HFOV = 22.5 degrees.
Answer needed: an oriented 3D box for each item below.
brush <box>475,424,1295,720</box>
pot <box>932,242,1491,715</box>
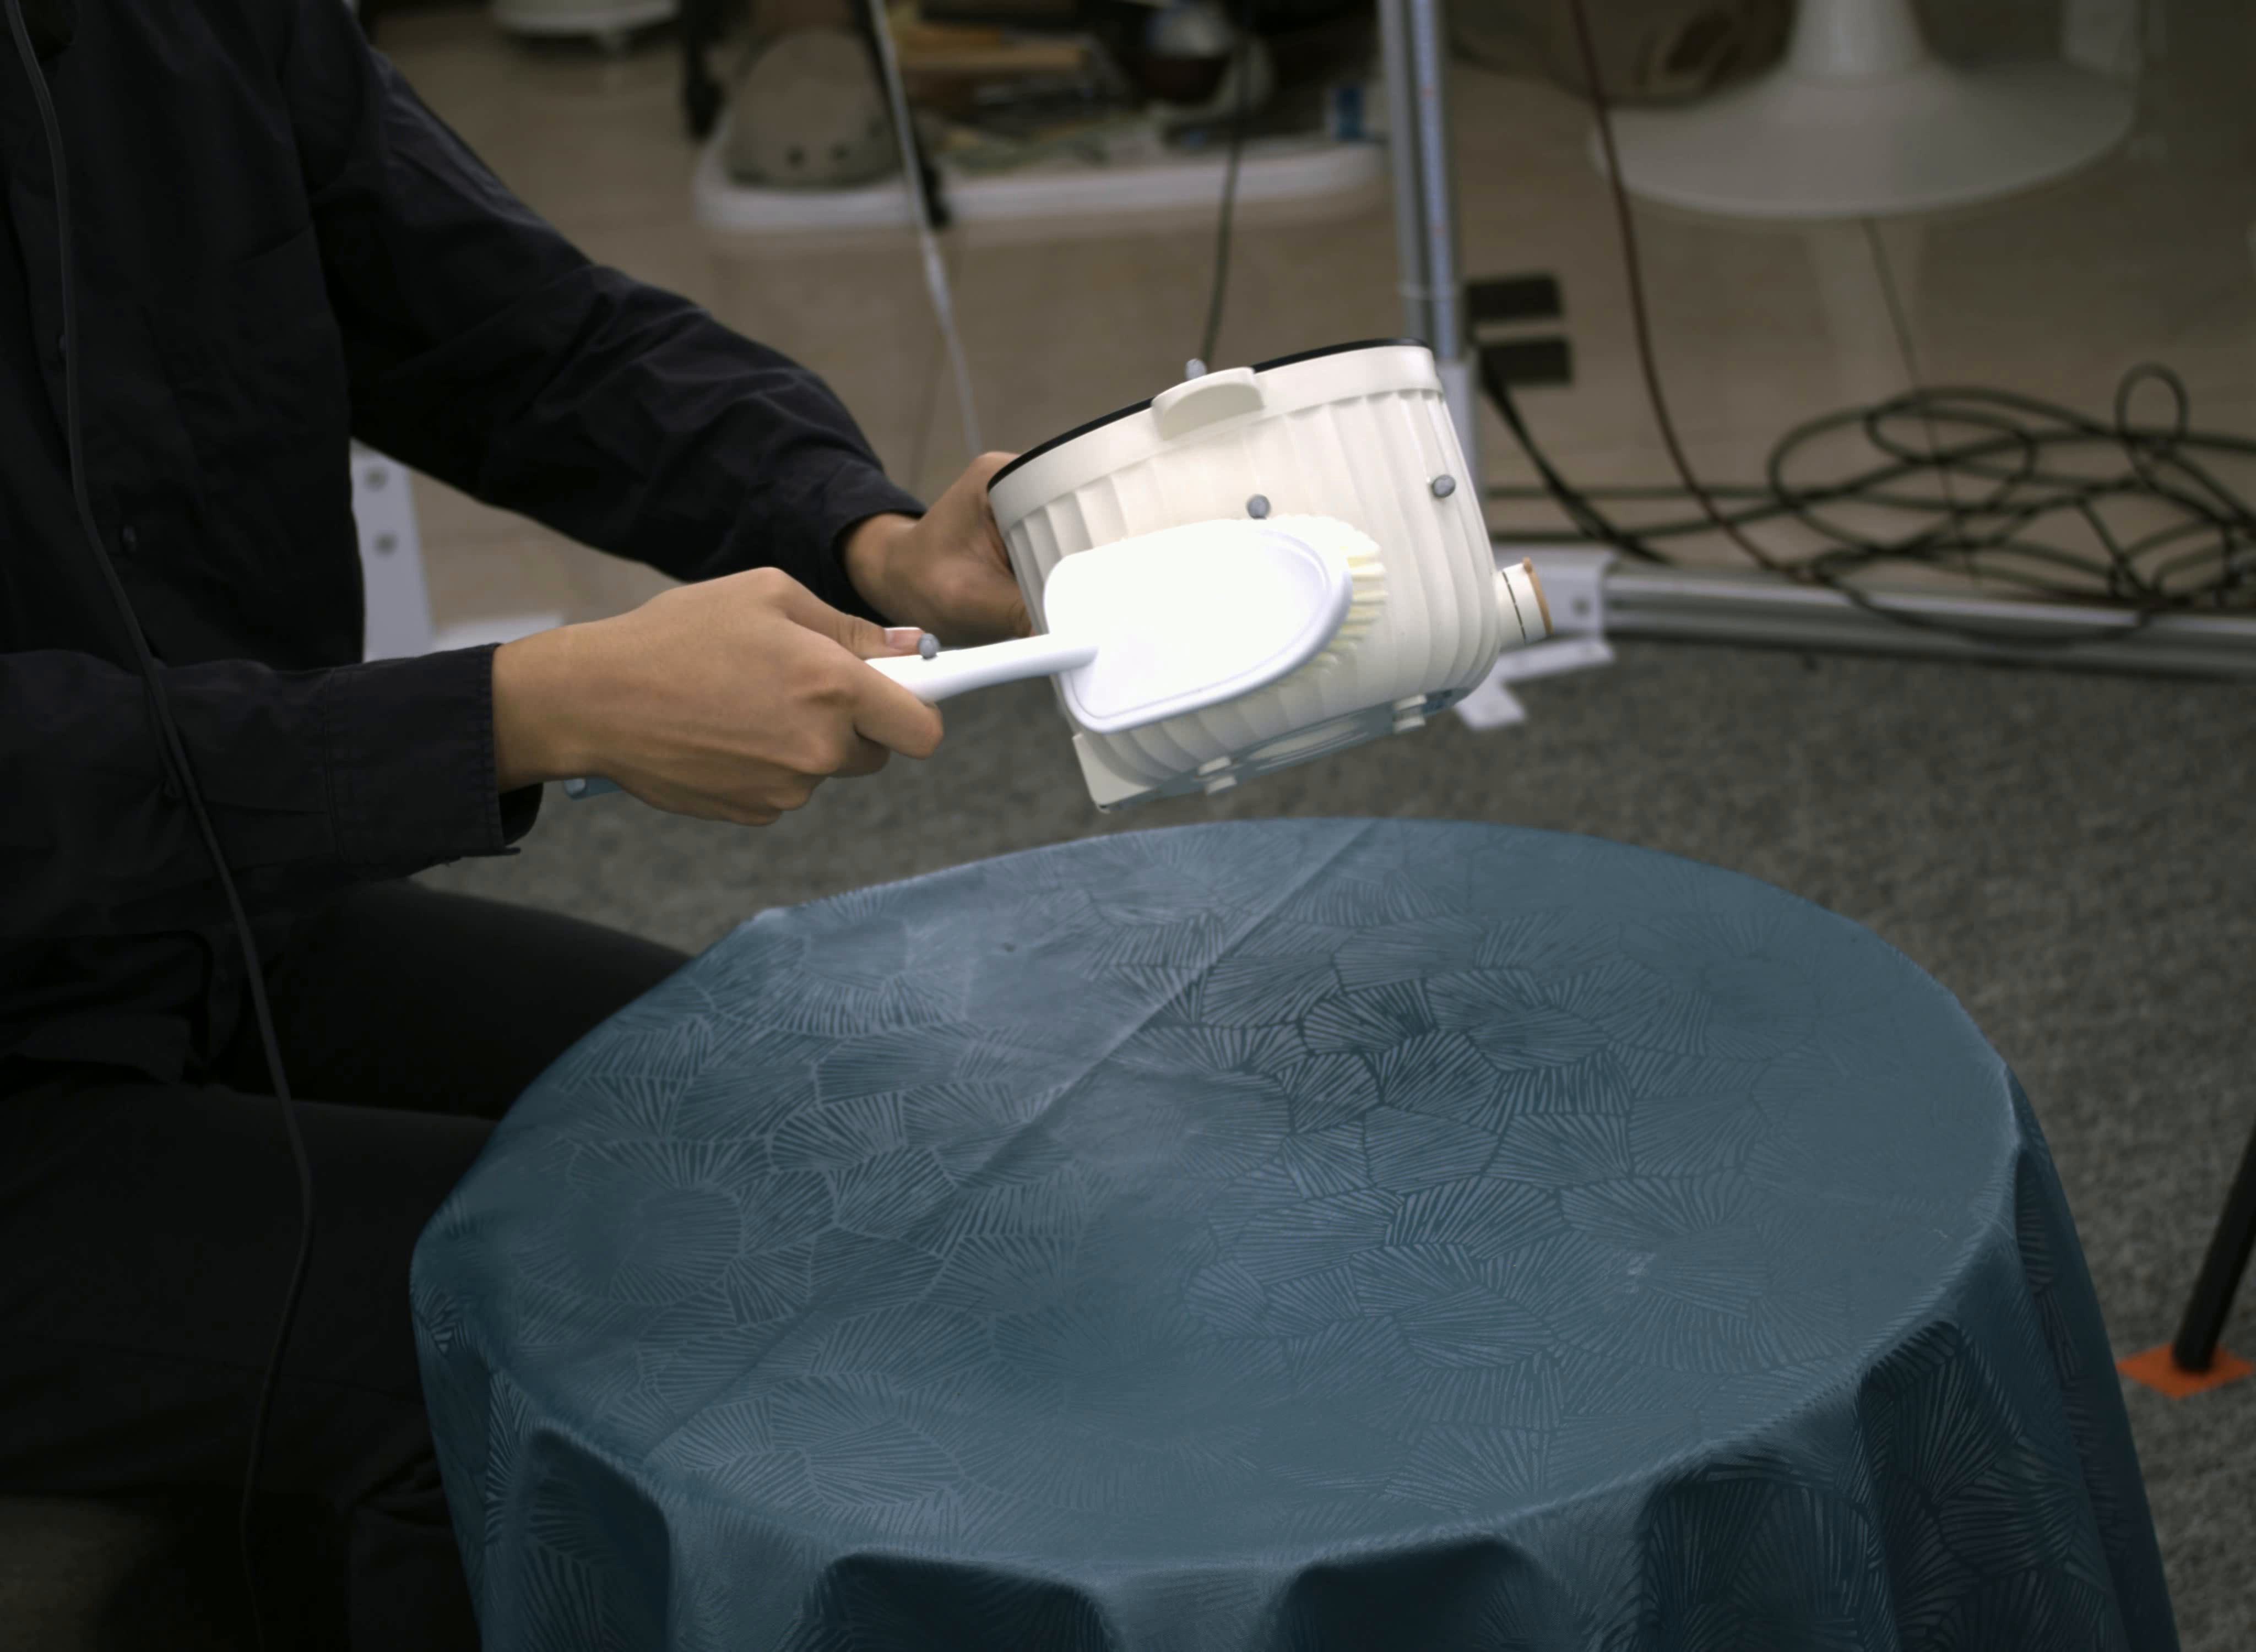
[{"bbox_3d":[-0.090,-0.094,2.120,0.326,0.086,0.082,-14,56,18],"label":"brush"},{"bbox_3d":[0.034,-0.135,2.215,0.190,0.142,0.241,-20,-4,0],"label":"pot"}]
